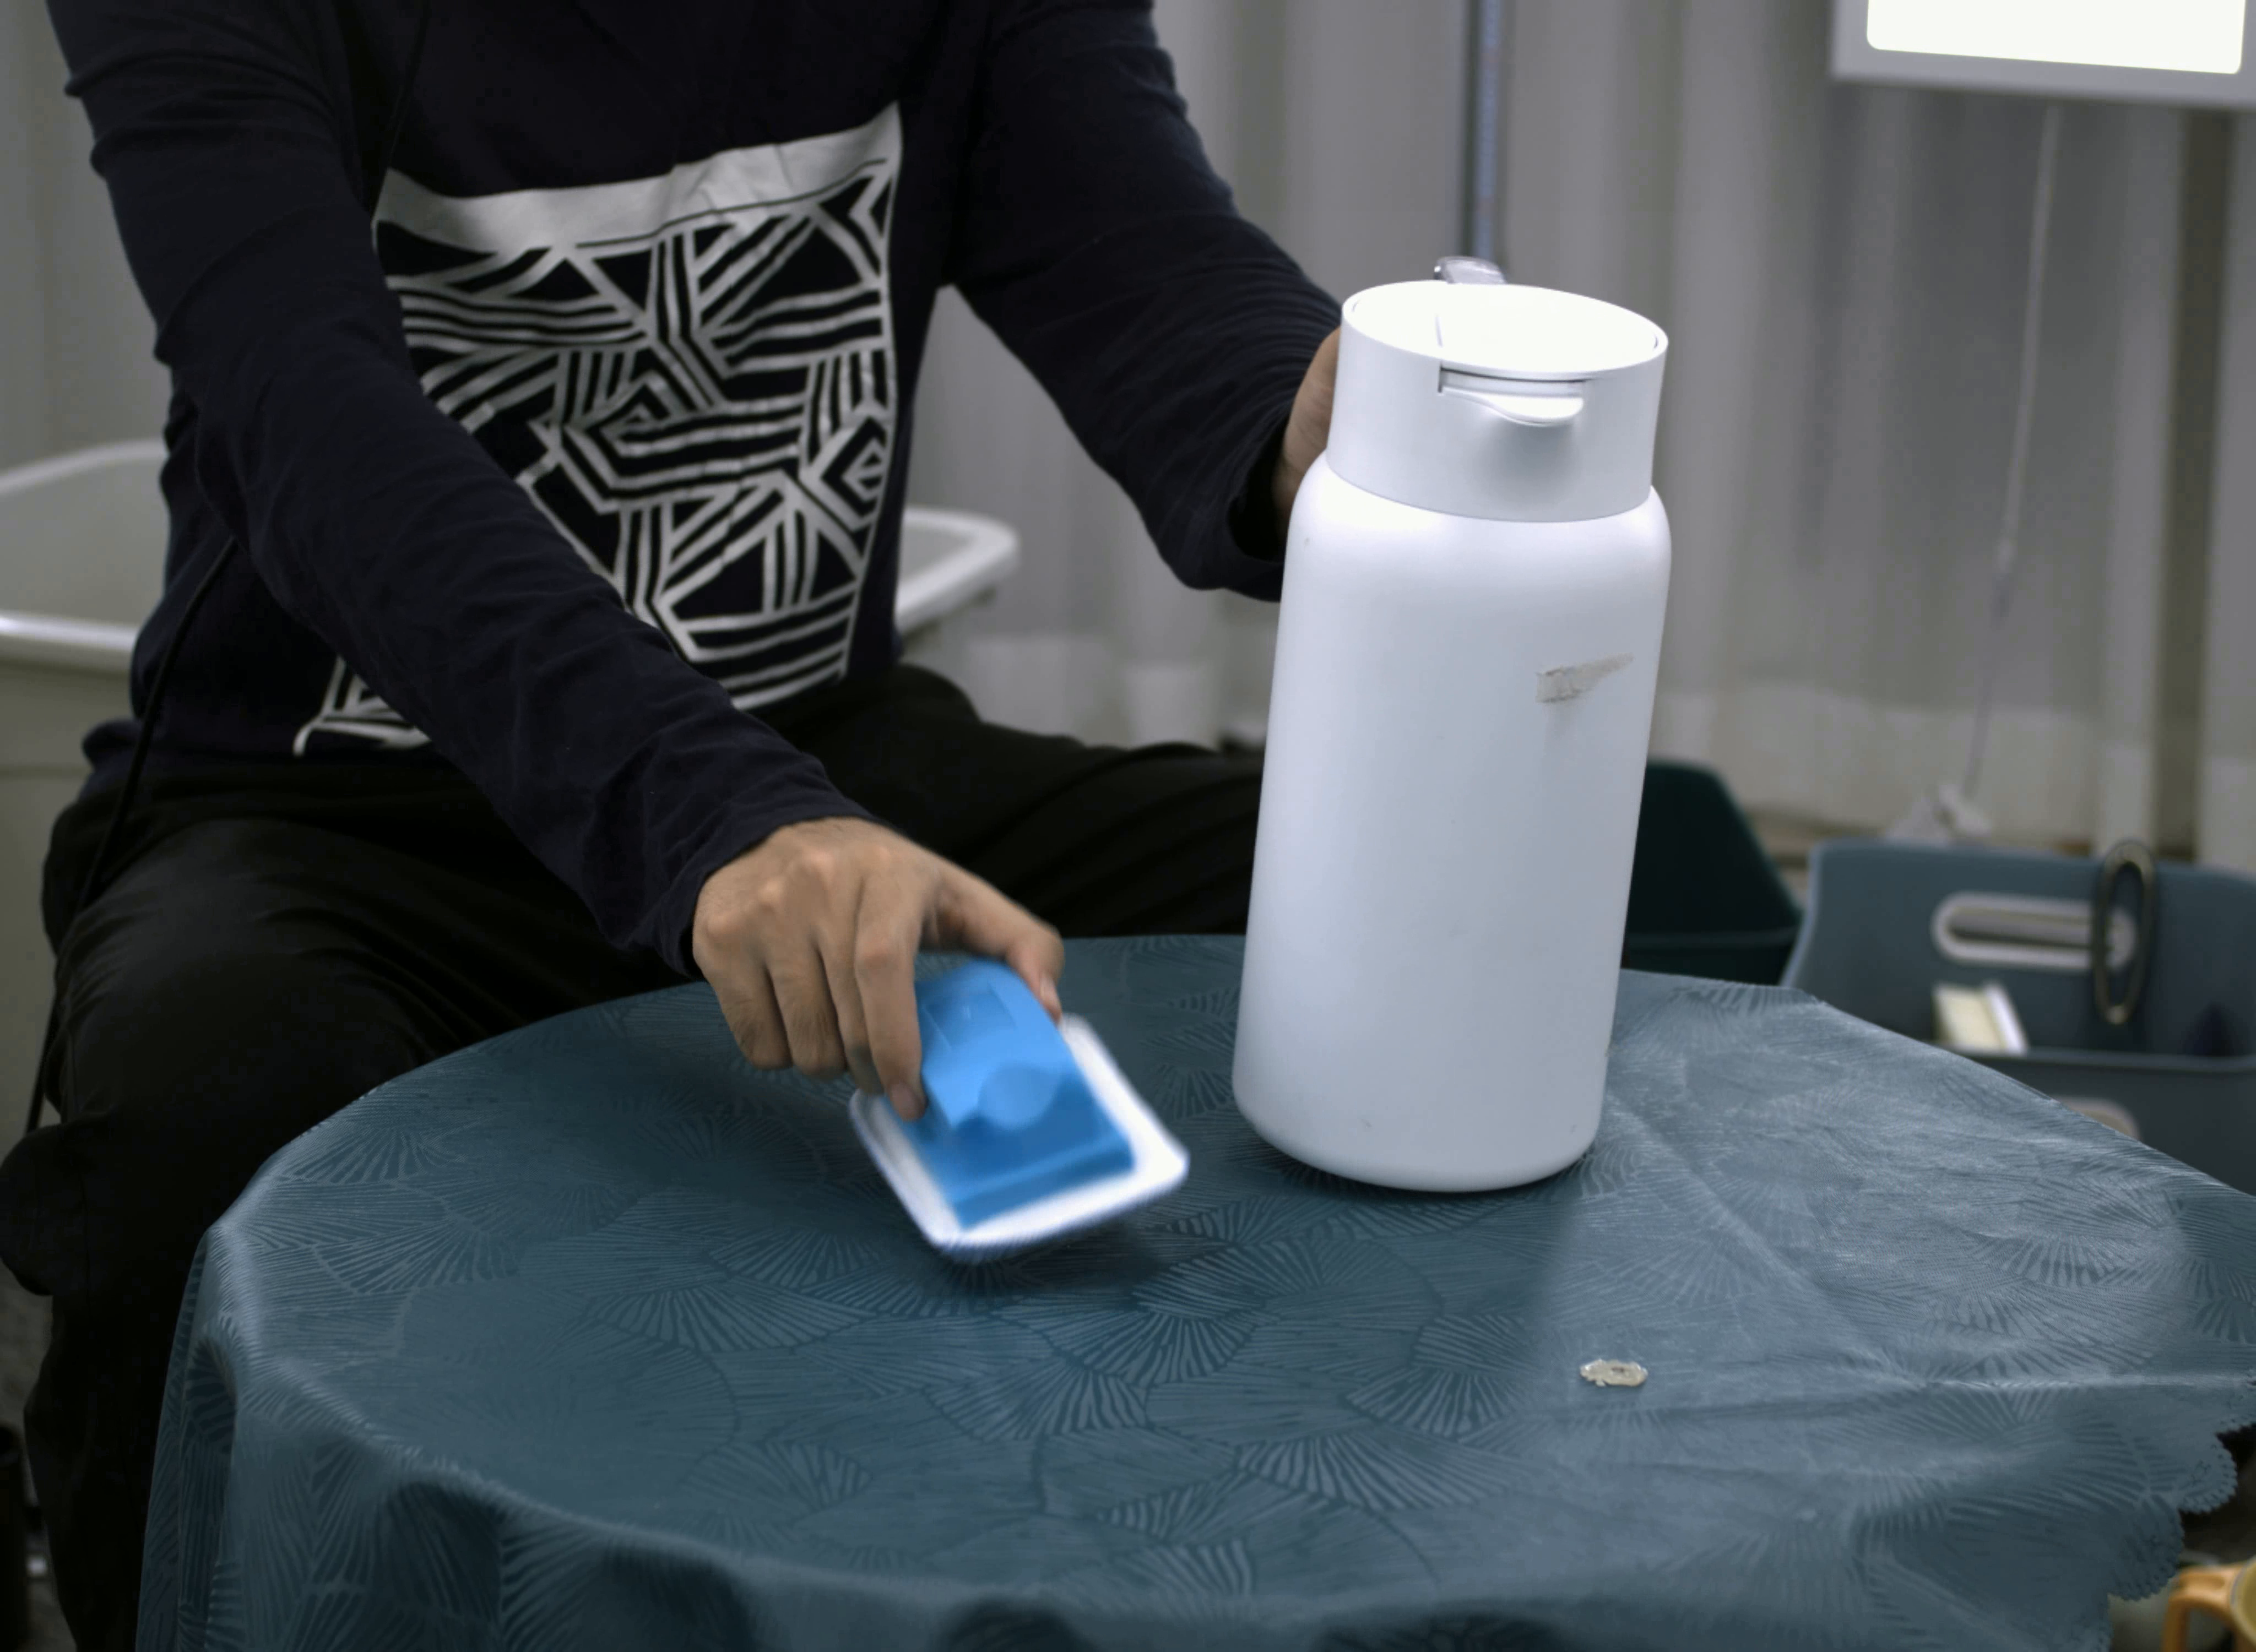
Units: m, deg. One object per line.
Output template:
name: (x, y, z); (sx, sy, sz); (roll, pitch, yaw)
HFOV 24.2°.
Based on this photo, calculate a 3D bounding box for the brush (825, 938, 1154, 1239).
brush: (-0.044, 0.076, 1.593); (0.084, 0.056, 0.142); (-12, 24, -10)

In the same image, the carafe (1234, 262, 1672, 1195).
carafe: (0.098, -0.034, 1.635); (0.124, 0.271, 0.171); (-1, 21, -10)
